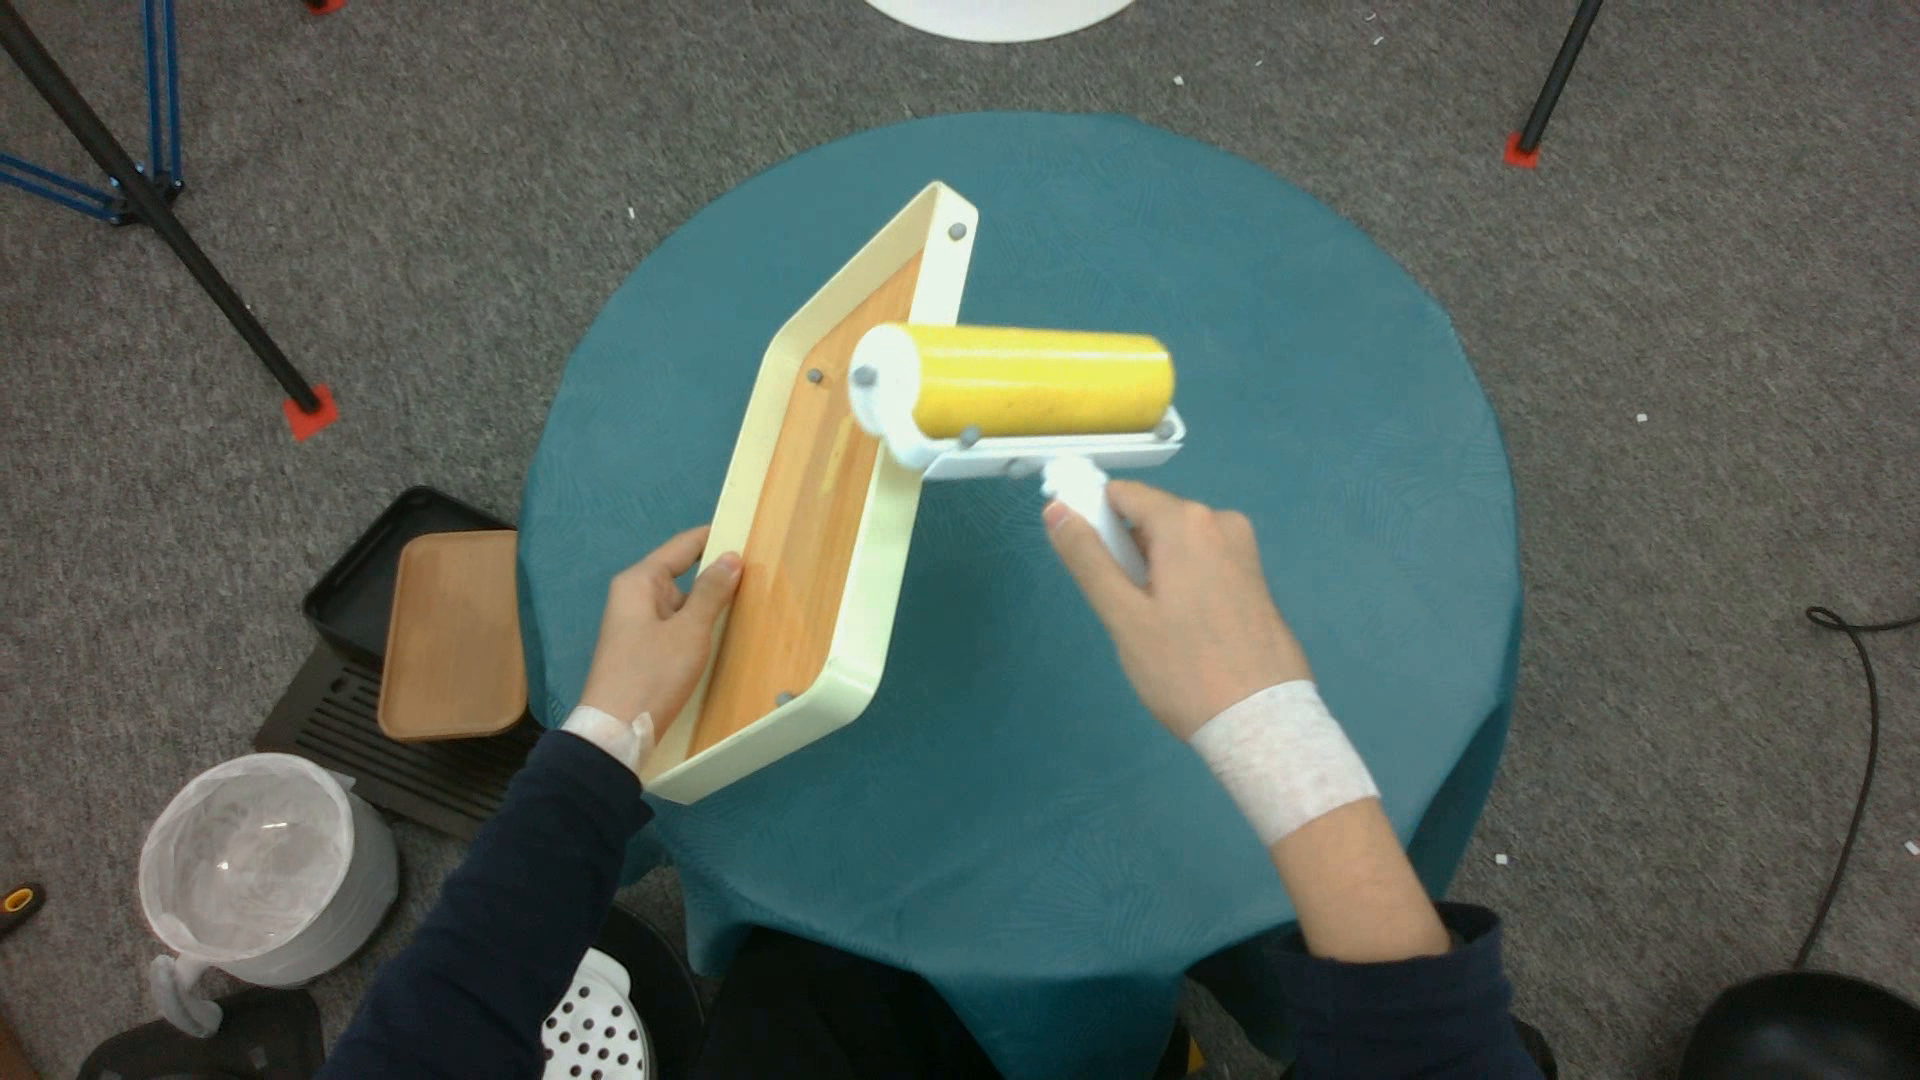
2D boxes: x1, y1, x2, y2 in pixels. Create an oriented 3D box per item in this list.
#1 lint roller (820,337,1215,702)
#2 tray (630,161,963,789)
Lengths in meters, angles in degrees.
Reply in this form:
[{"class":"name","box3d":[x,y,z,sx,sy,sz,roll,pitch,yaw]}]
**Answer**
[{"class":"lint roller","box3d":[0.054,-0.017,0.593,0.175,0.051,0.192,-9,49,-44]},{"class":"tray","box3d":[-0.080,-0.035,0.692,0.027,0.190,0.301,27,54,-26]}]
